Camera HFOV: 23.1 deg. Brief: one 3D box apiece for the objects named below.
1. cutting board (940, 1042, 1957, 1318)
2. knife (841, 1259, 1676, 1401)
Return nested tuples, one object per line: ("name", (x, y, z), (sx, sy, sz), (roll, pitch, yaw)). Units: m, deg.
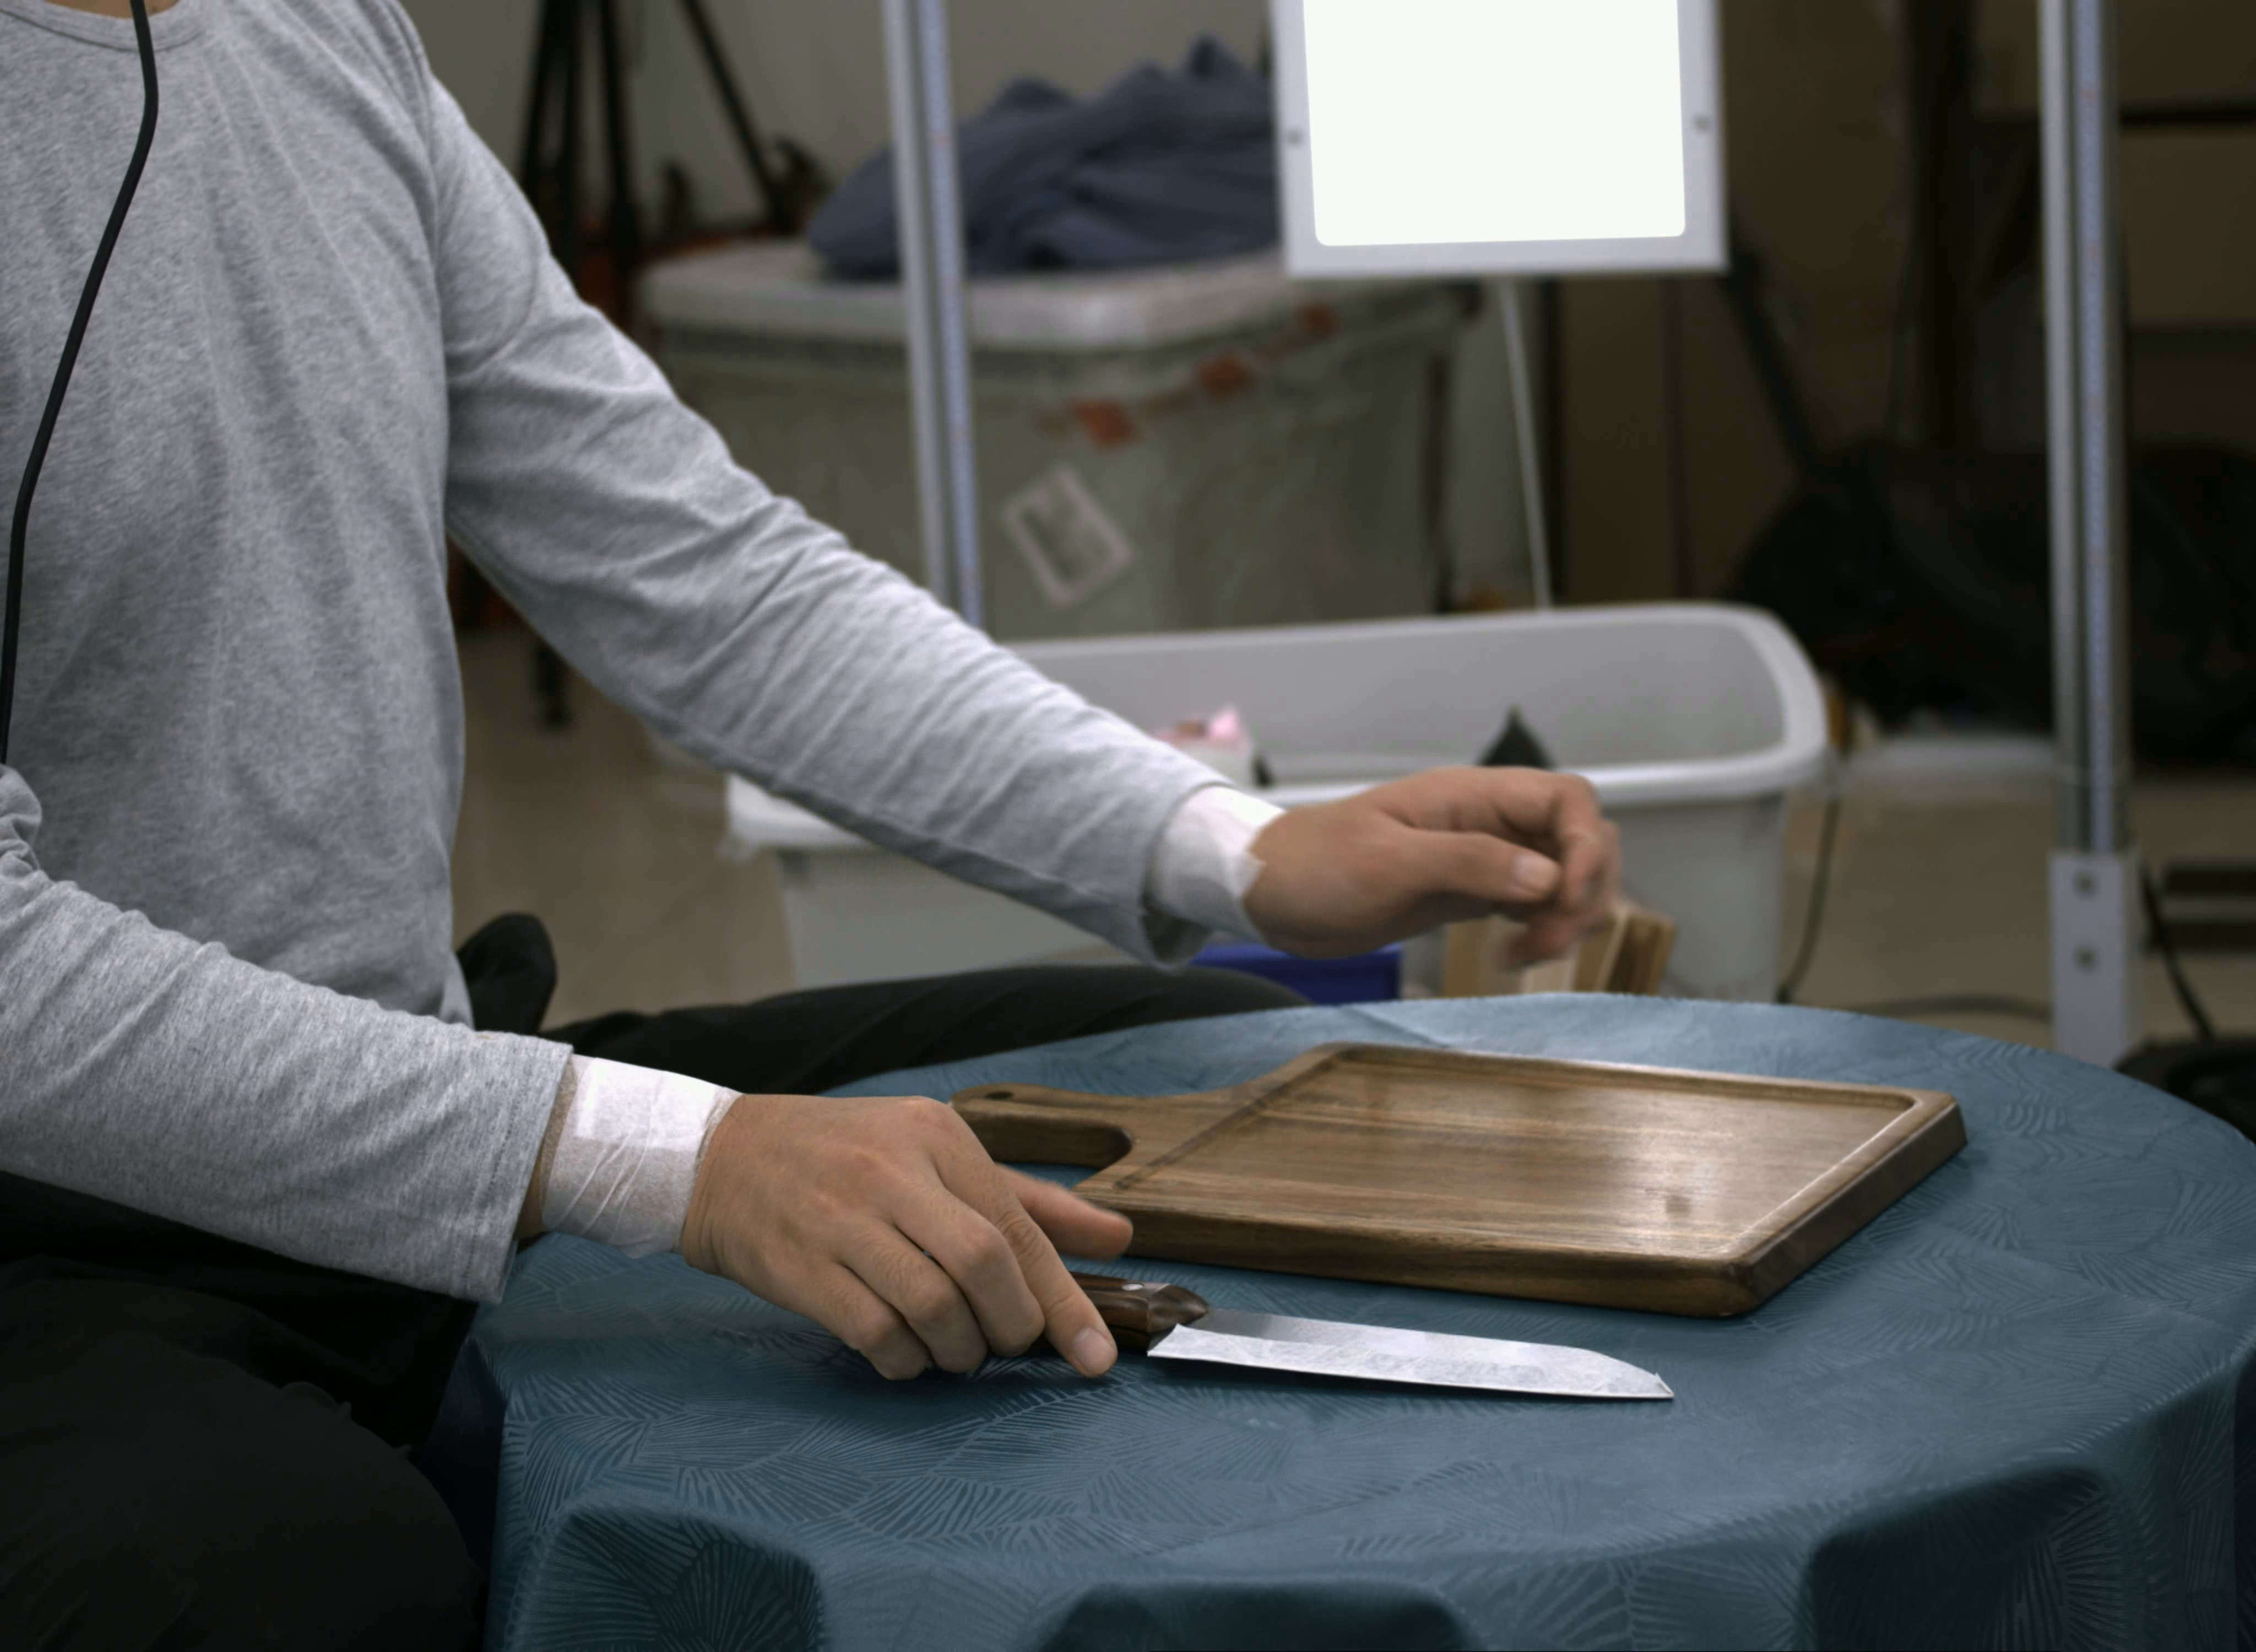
("cutting board", (0.089, 0.113, 1.882), (0.359, 0.023, 0.196), (4, 16, 32))
("knife", (0.036, 0.160, 1.721), (0.294, 0.020, 0.049), (4, 19, 27))
